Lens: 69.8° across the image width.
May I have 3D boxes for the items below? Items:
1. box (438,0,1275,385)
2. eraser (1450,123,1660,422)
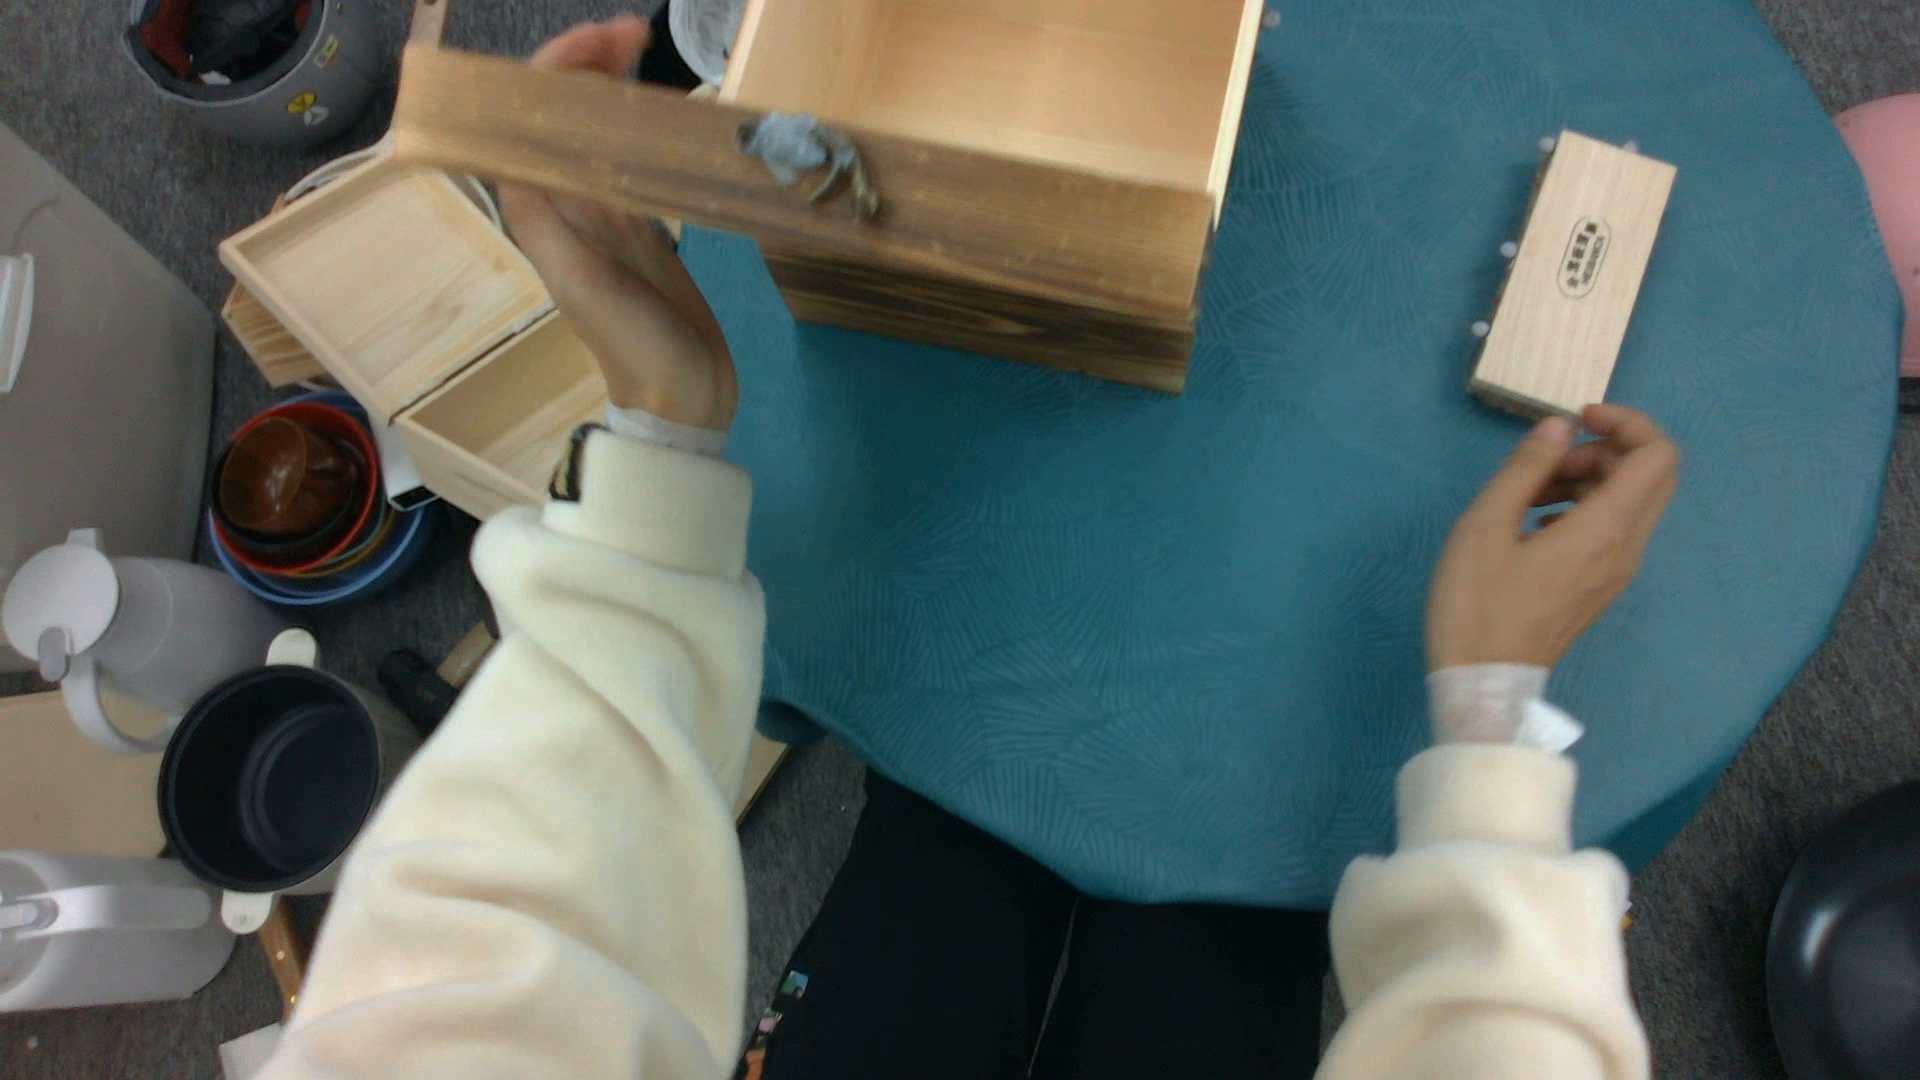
[{"bbox_3d":[0.008,-0.190,0.525,0.208,0.374,0.323,11,75,6],"label":"box"},{"bbox_3d":[0.284,-0.128,0.662,0.057,0.029,0.139,23,78,7],"label":"eraser"}]
